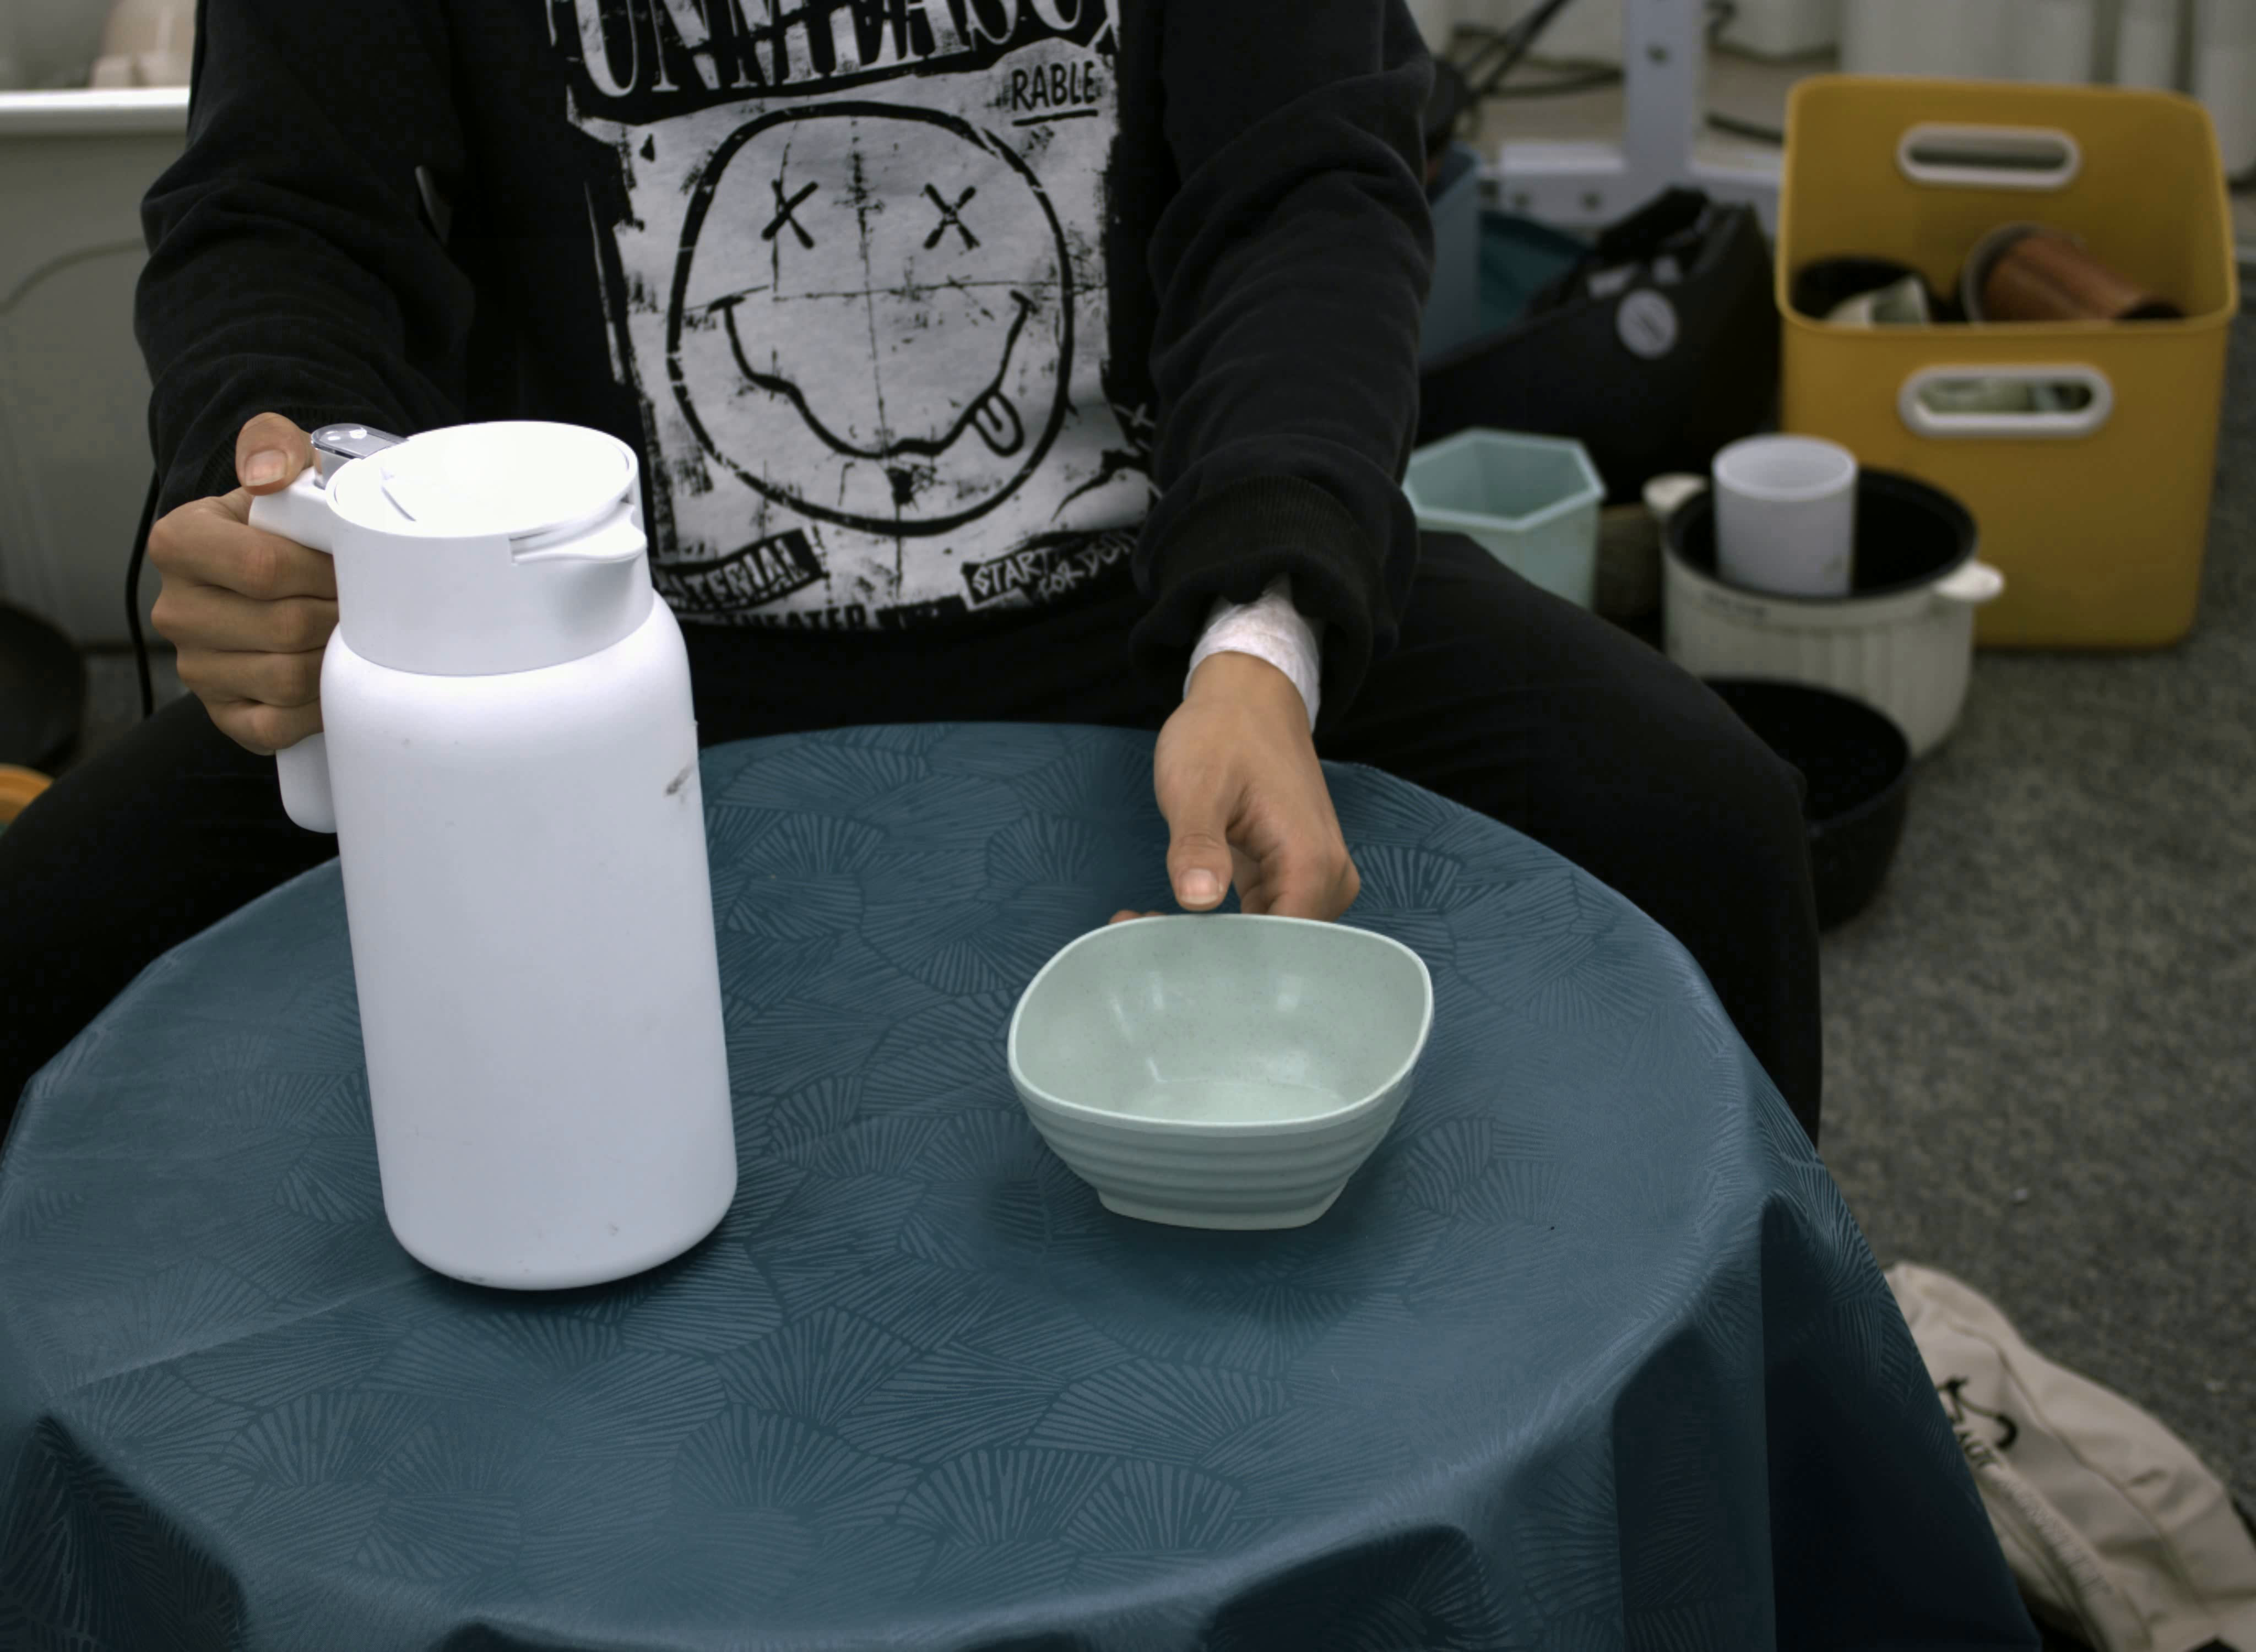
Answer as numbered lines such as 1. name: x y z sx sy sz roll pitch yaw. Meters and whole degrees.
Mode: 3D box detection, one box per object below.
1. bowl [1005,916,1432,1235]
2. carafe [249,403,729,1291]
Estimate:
1. bowl: 0.031 0.089 1.861 0.151 0.058 0.154 -2 27 1
2. carafe: -0.209 0.005 1.815 0.172 0.266 0.125 16 31 37
